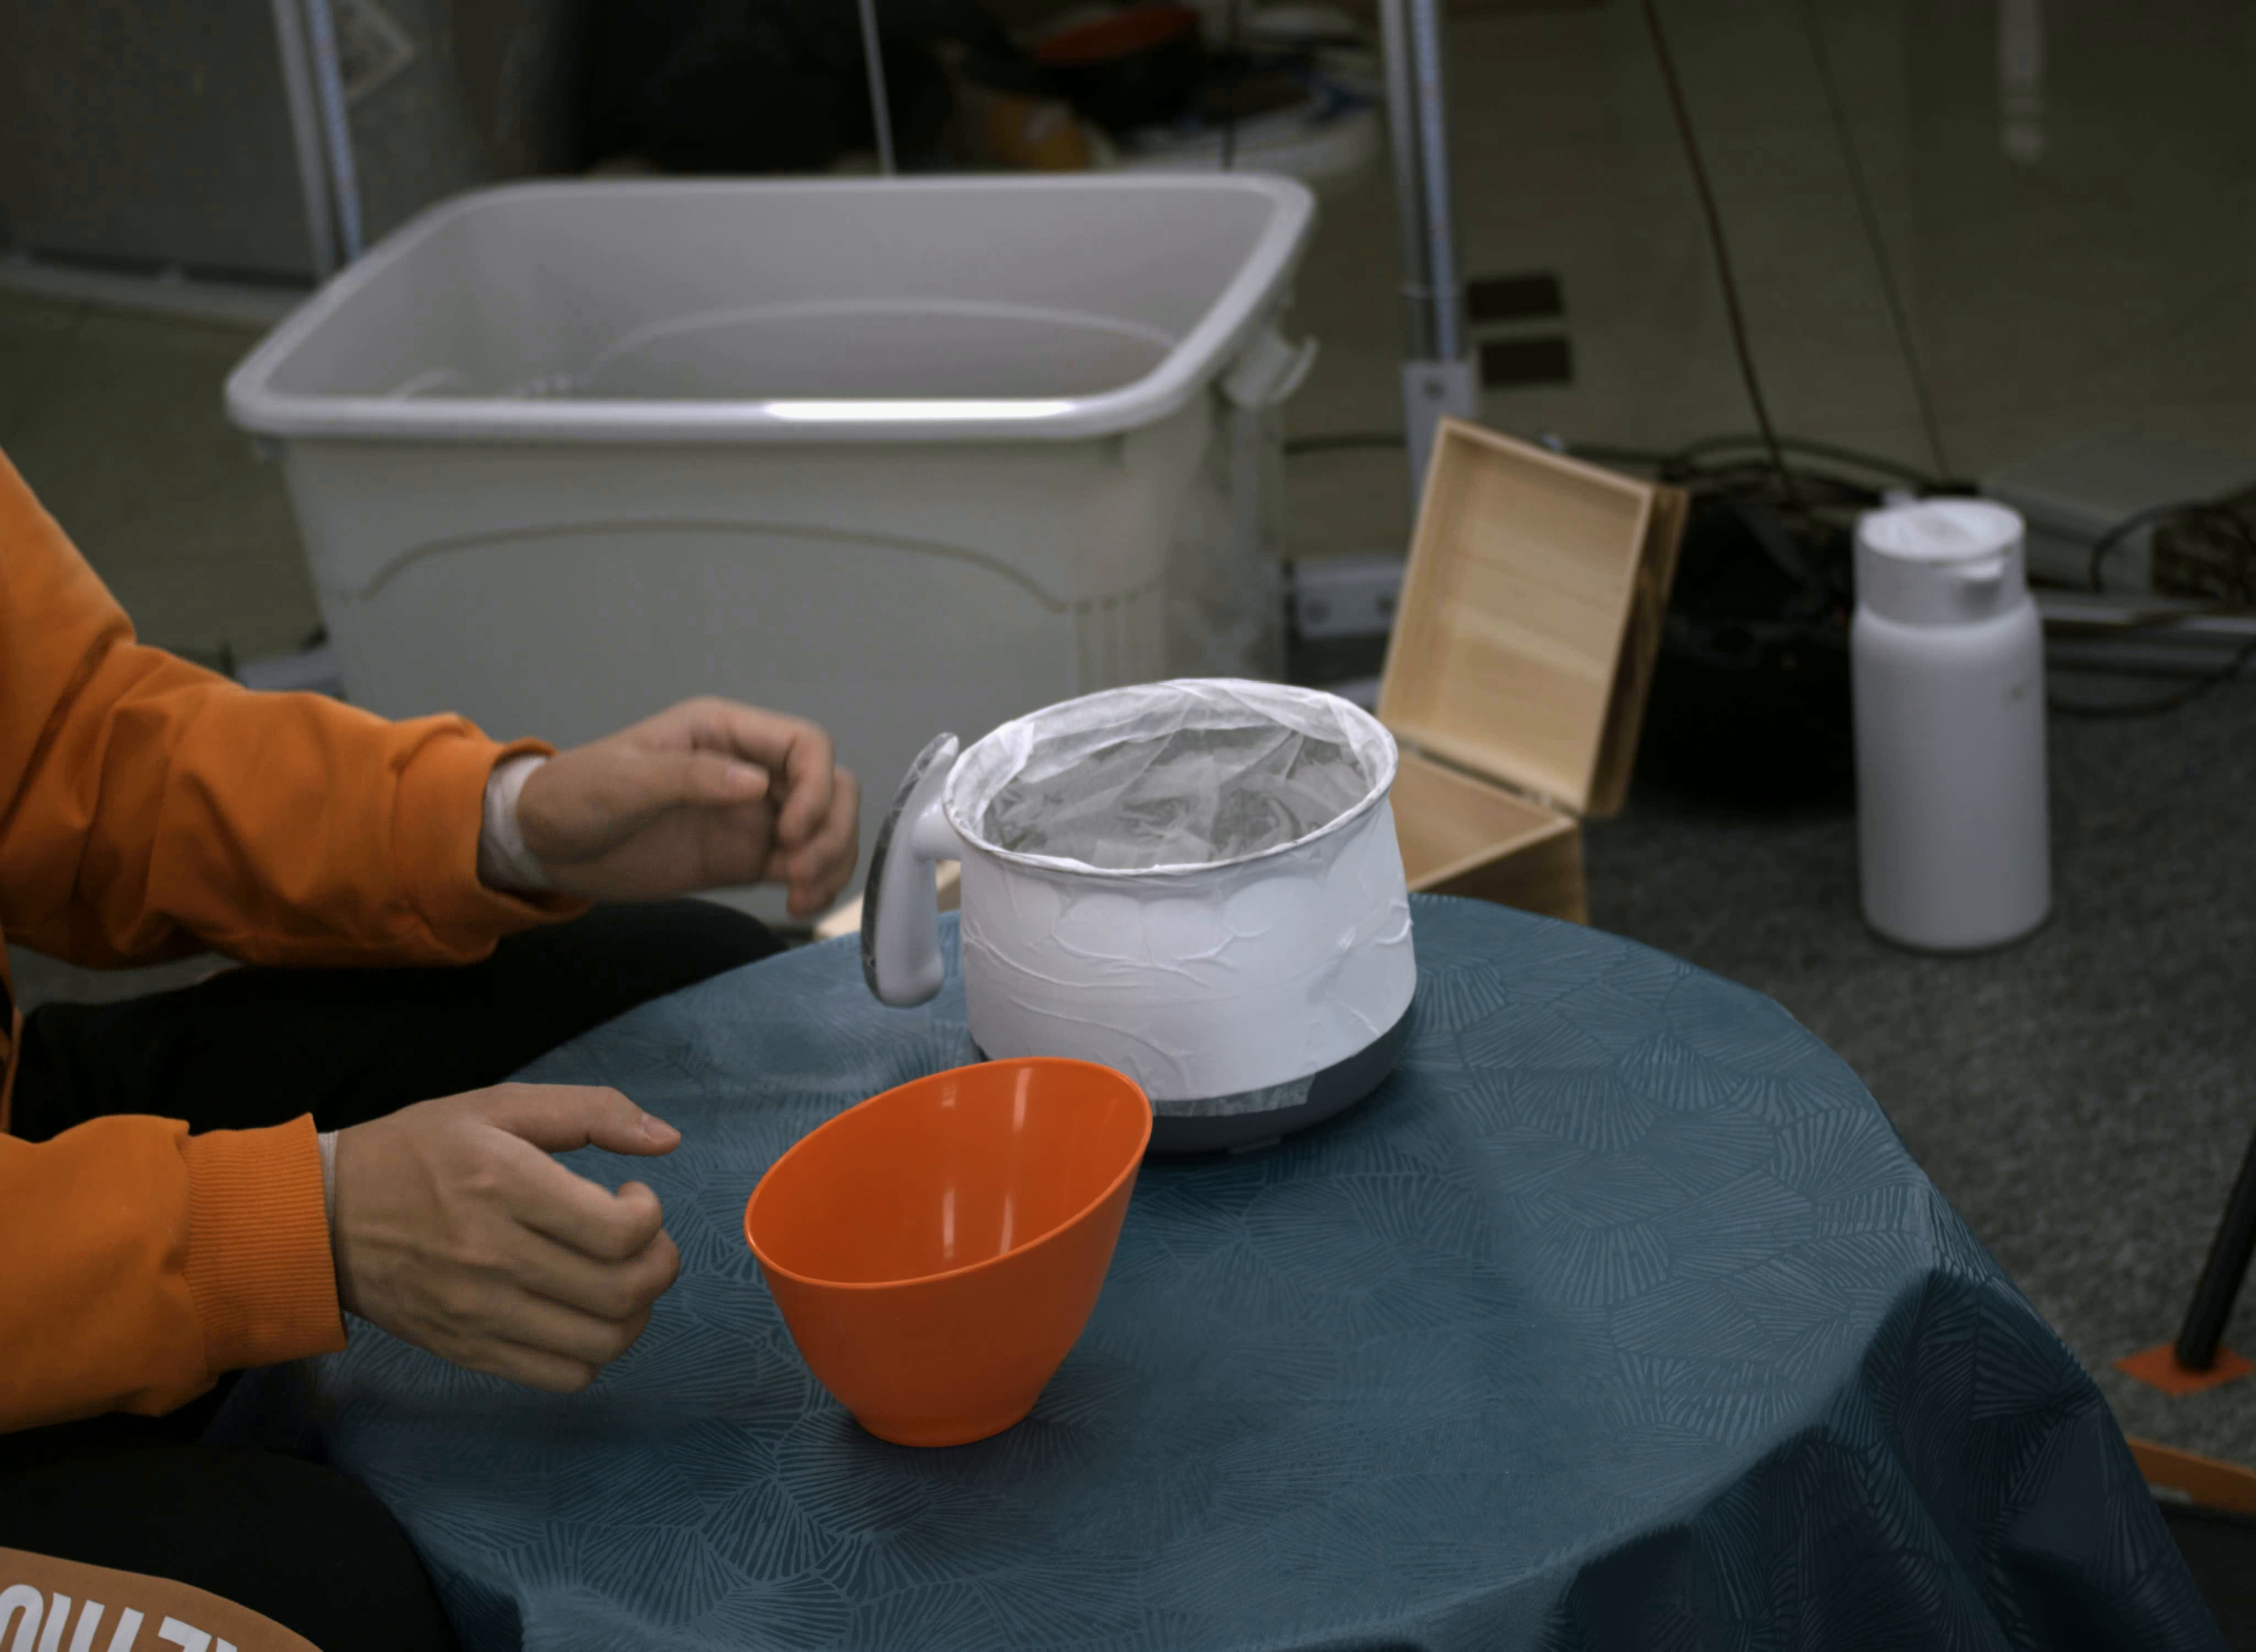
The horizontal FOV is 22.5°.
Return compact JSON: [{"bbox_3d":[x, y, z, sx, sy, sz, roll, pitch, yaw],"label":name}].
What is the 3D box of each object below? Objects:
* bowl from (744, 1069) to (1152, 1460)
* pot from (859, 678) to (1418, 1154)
[{"bbox_3d":[-0.058,0.161,2.001,0.148,0.106,0.146,-7,25,3],"label":"bowl"},{"bbox_3d":[-0.003,0.033,2.208,0.233,0.139,0.176,7,28,25],"label":"pot"}]
